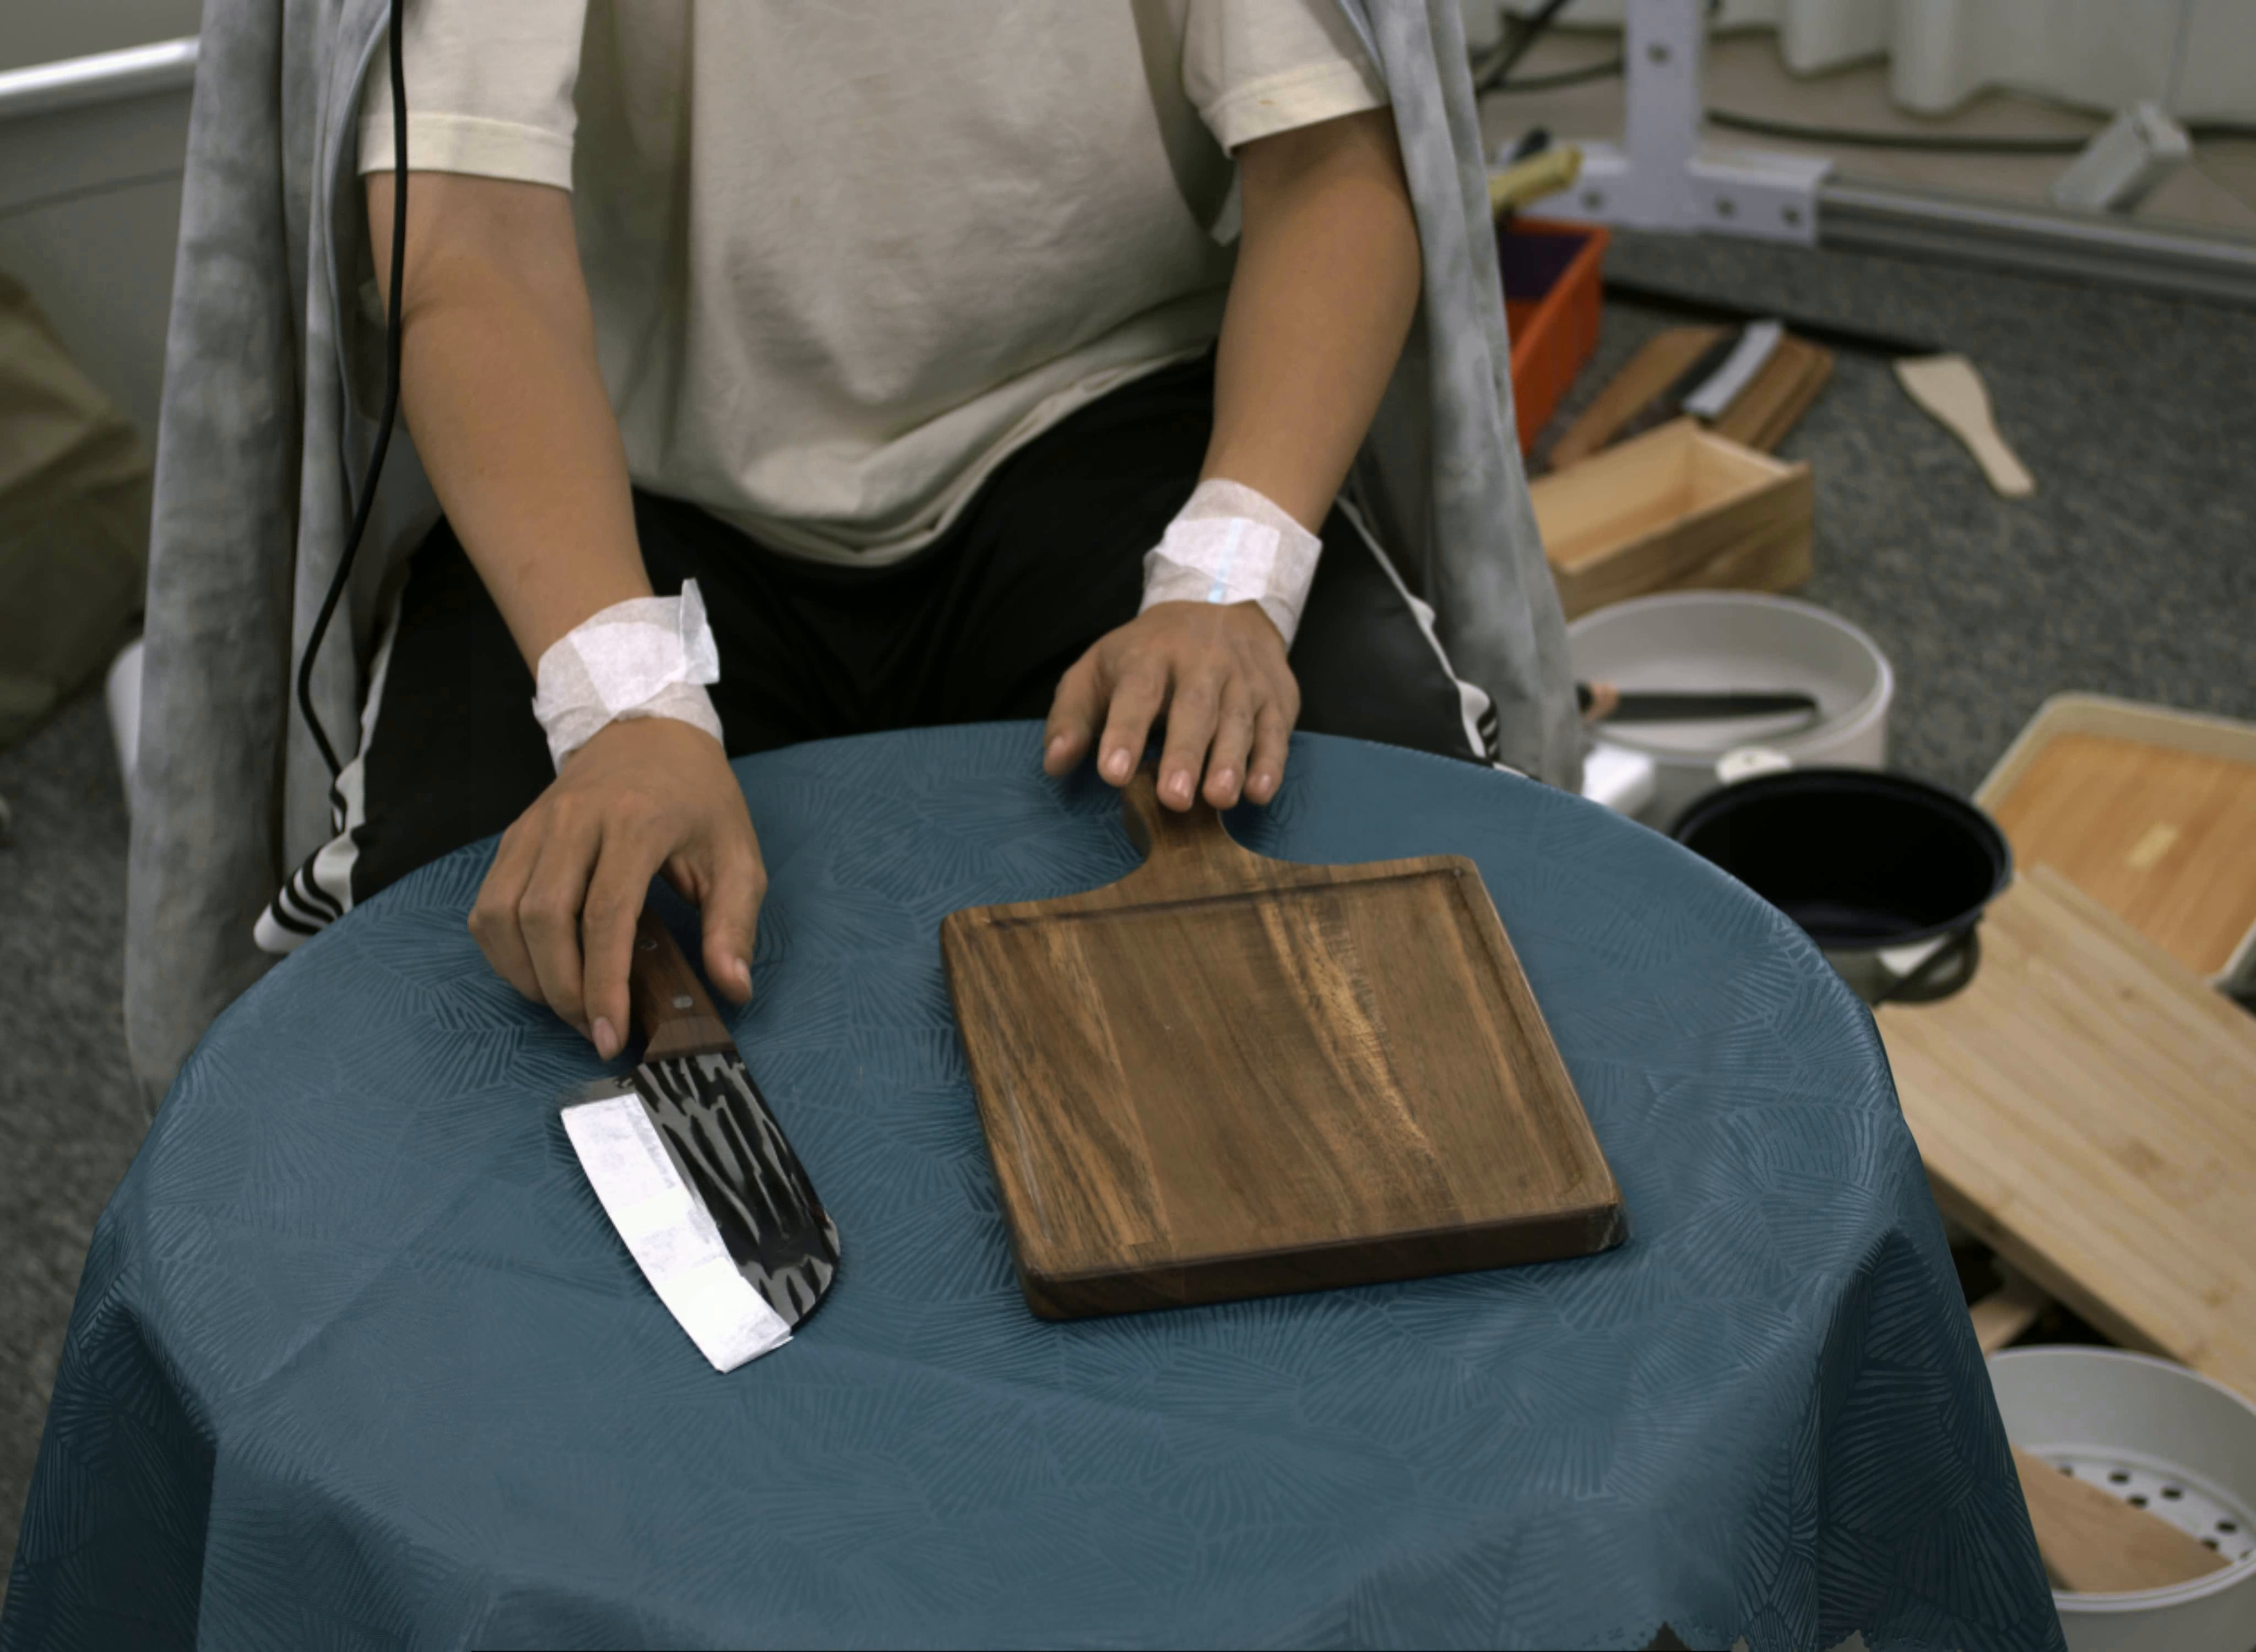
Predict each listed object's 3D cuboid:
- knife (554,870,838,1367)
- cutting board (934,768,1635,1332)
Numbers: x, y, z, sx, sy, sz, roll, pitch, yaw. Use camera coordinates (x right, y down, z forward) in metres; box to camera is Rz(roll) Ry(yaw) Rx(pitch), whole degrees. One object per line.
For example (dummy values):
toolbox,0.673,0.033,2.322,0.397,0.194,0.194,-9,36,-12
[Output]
knife,-0.156,0.097,1.903,0.068,0.023,0.302,-12,31,-14
cutting board,0.040,0.064,1.951,0.200,0.023,0.356,-8,27,-6
